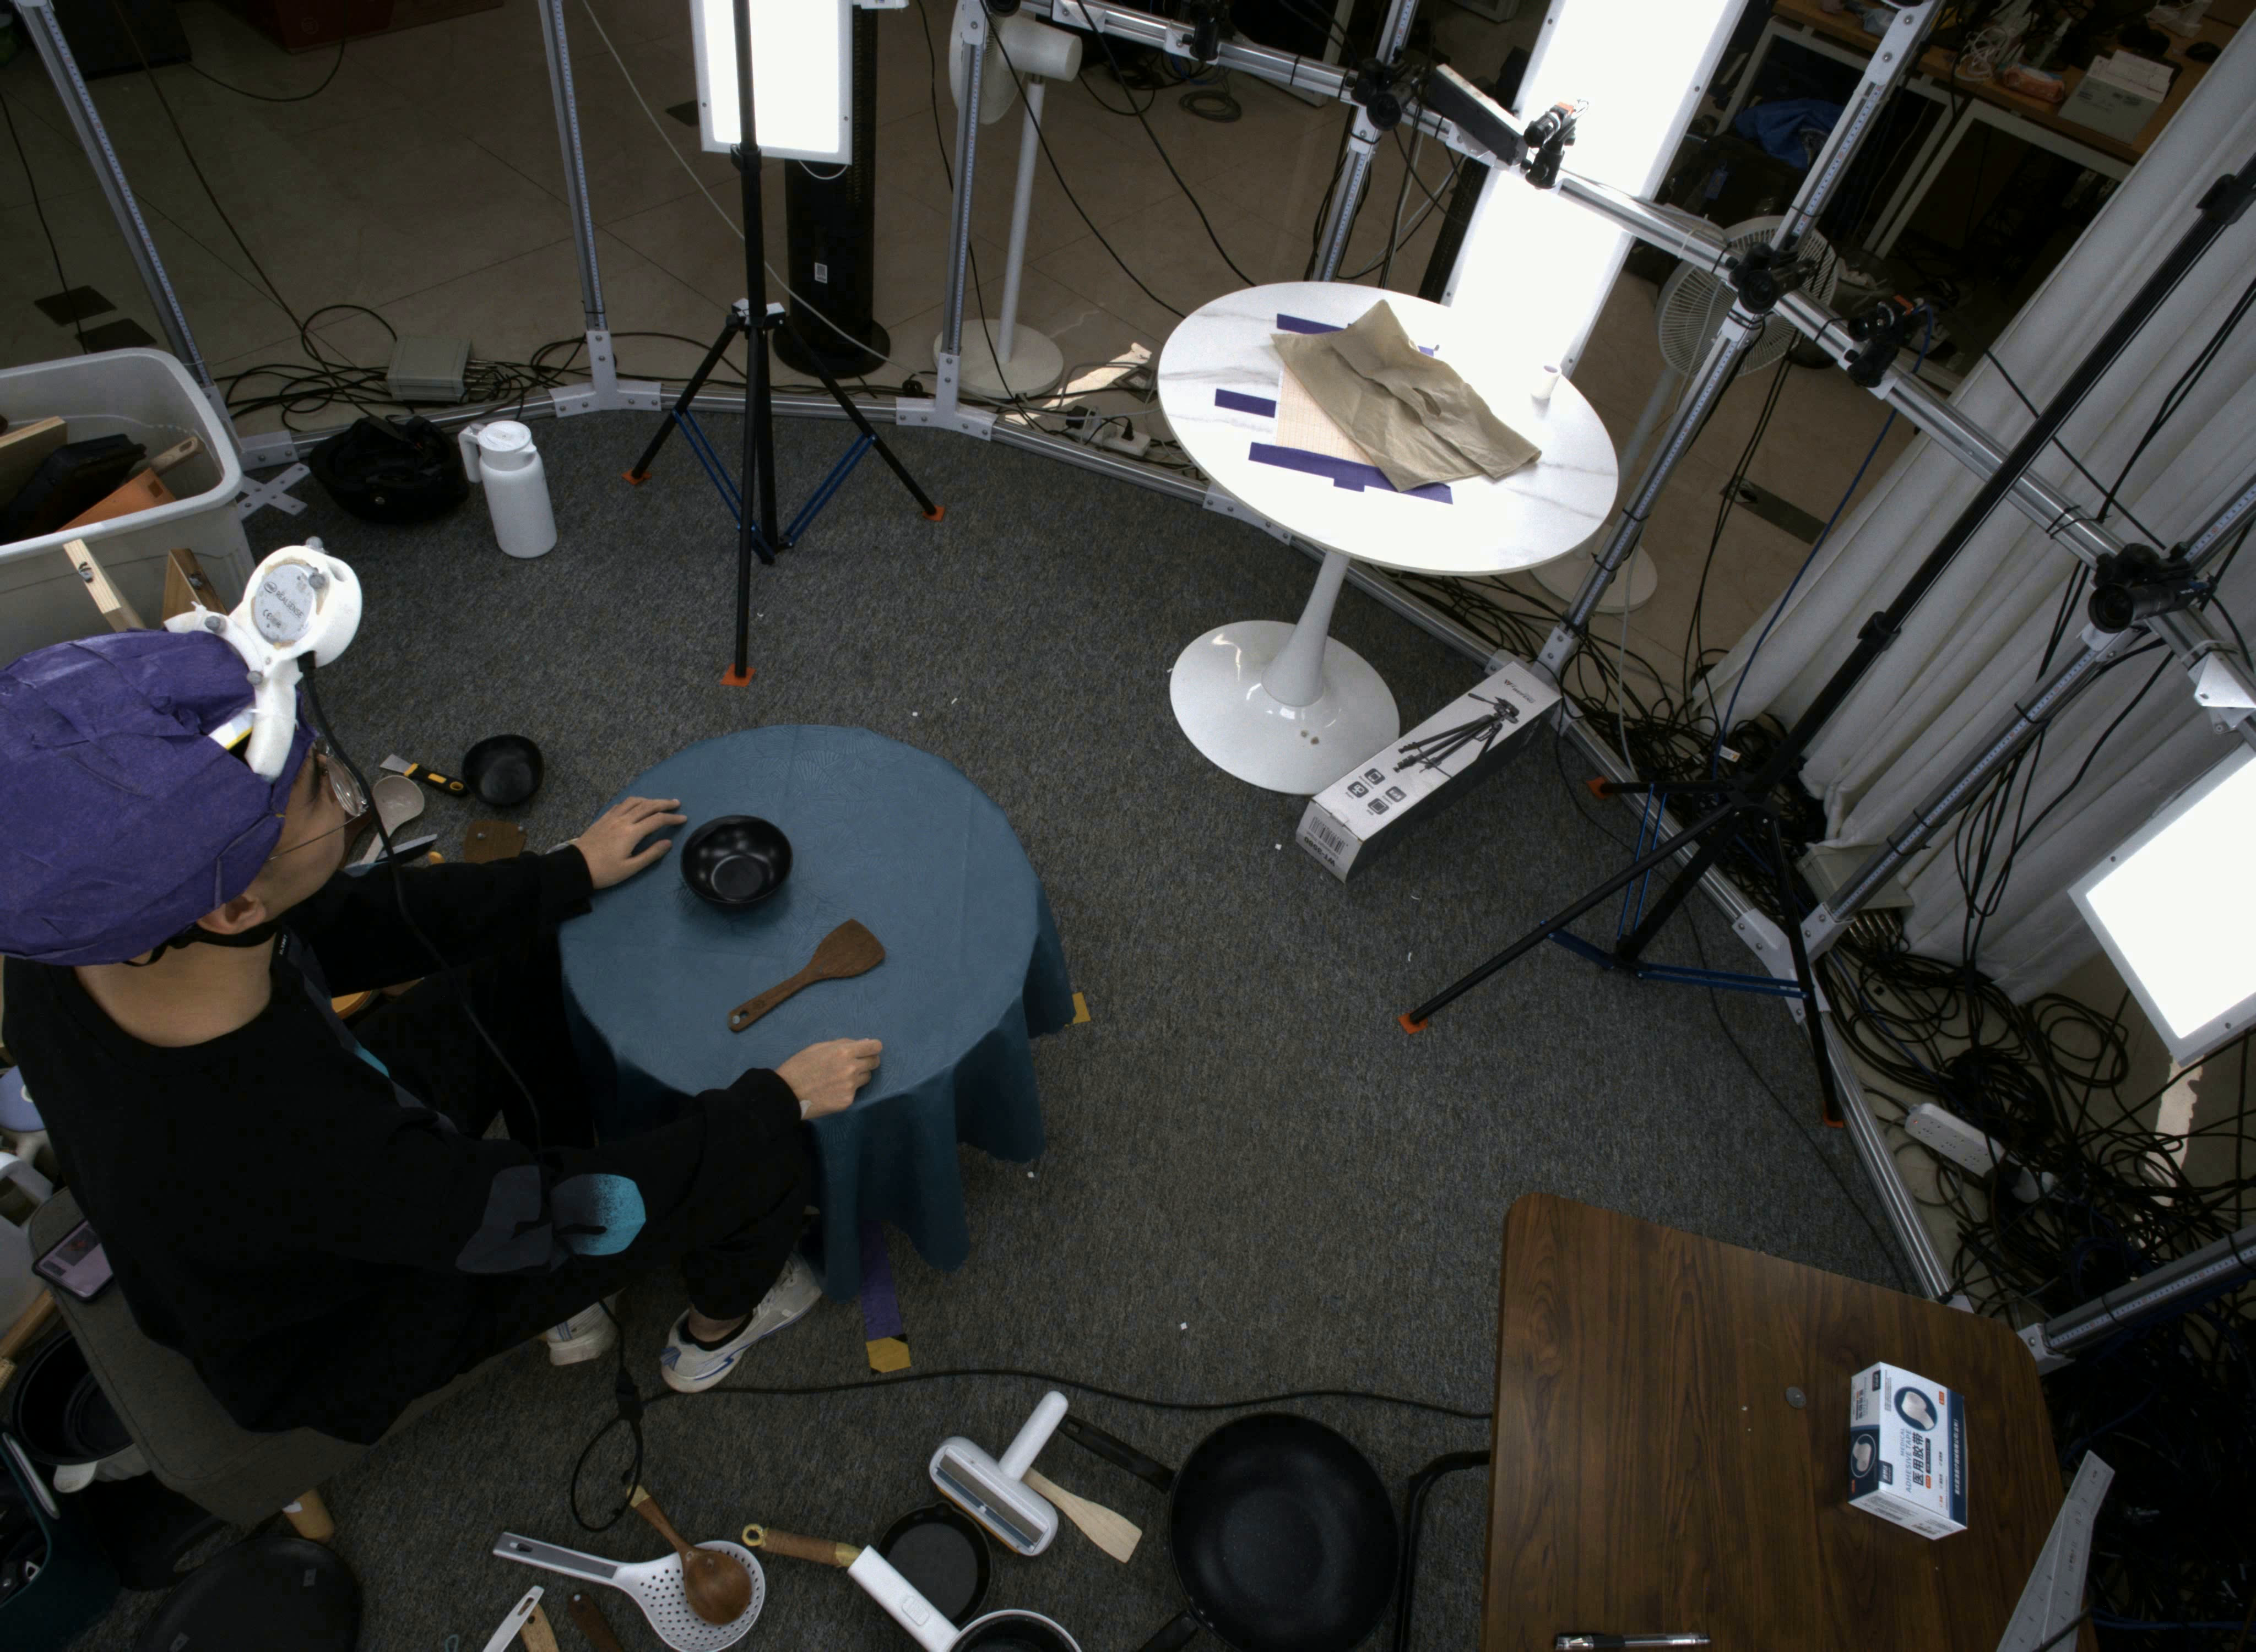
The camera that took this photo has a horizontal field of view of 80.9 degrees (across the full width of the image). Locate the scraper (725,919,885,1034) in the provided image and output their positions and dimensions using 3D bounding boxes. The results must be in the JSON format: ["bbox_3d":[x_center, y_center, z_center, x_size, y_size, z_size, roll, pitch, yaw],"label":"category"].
[{"bbox_3d":[-0.399,0.187,1.591,0.212,0.011,0.074,-33,67,-31],"label":"scraper"}]

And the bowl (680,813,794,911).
[{"bbox_3d":[-0.495,0.052,1.641,0.140,0.050,0.137,8,54,-10],"label":"bowl"}]
